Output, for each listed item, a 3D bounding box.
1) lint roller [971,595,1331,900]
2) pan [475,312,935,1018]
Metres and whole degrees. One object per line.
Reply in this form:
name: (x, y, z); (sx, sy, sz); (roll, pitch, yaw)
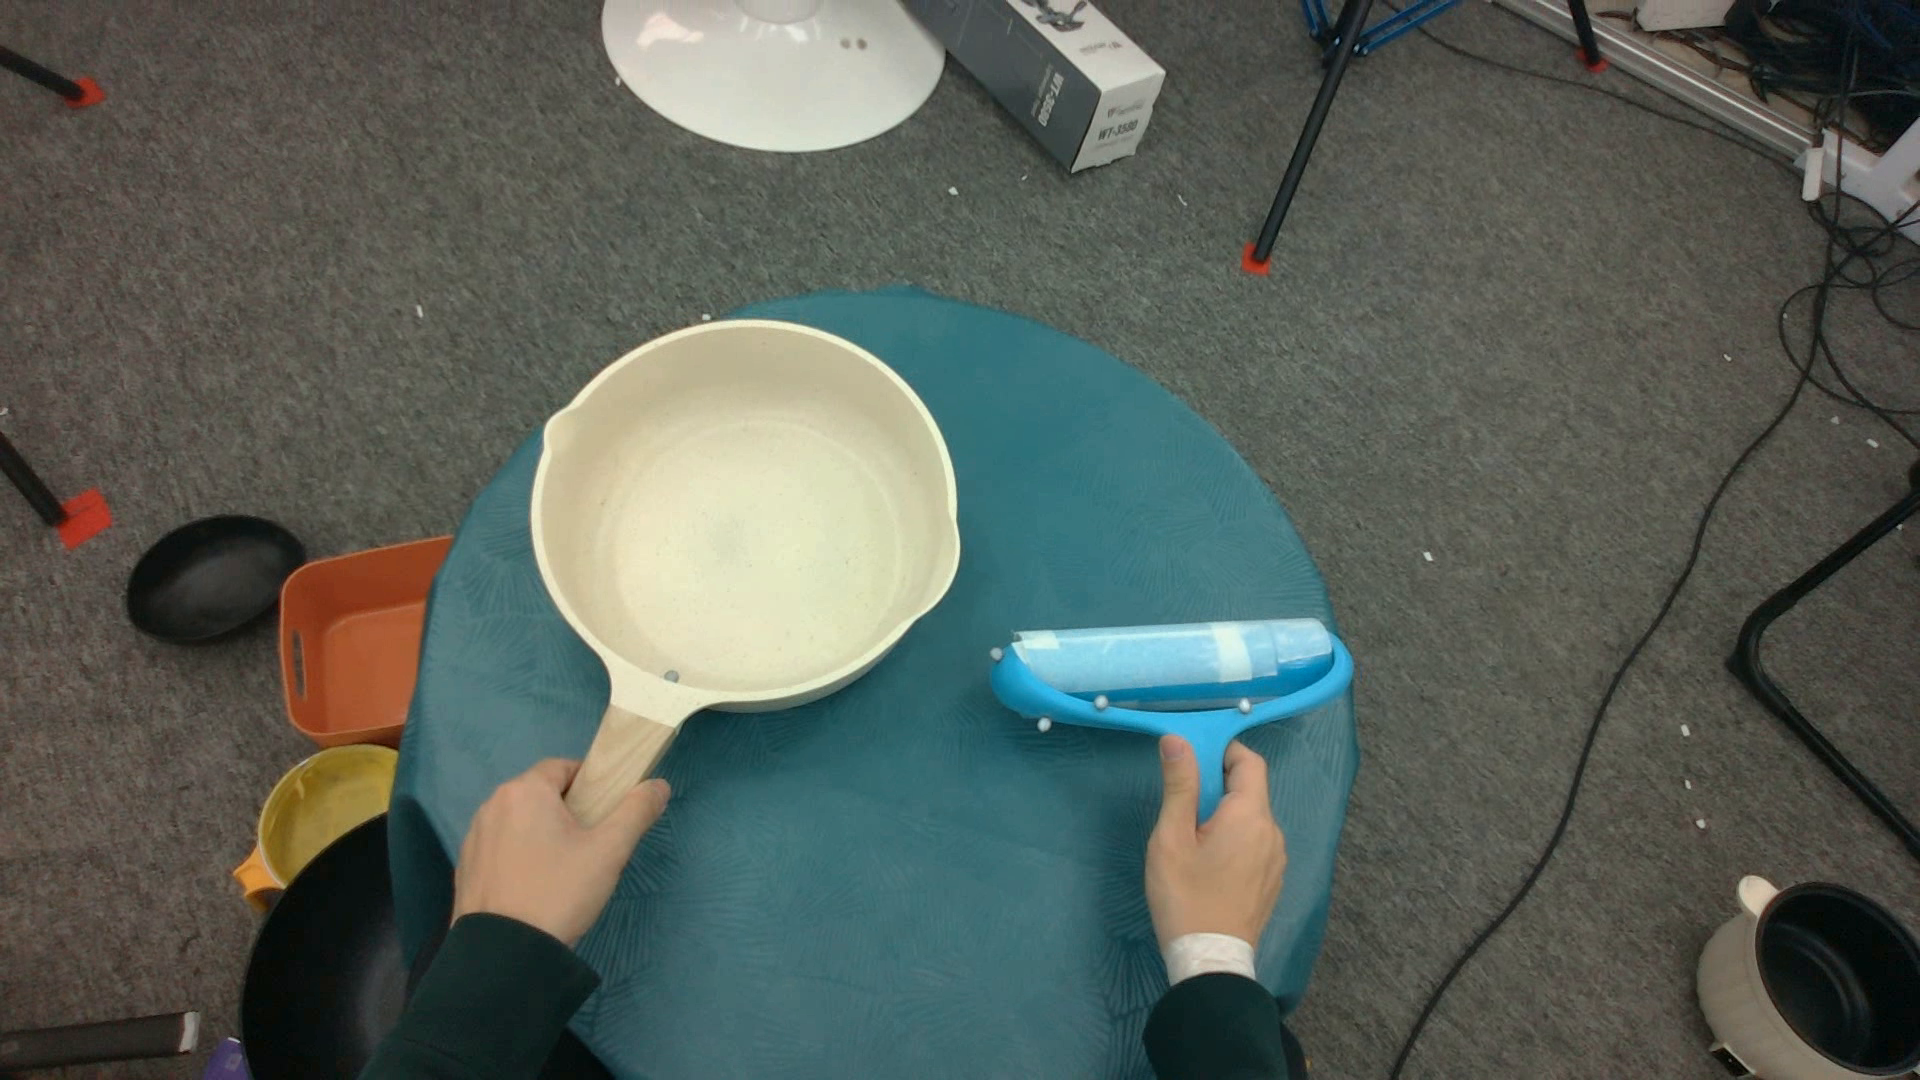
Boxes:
lint roller: (0.132, 0.119, 0.829); (0.229, 0.067, 0.181); (-6, 58, -13)
pan: (-0.173, 0.064, 0.813); (0.263, 0.101, 0.436); (18, 66, 2)
